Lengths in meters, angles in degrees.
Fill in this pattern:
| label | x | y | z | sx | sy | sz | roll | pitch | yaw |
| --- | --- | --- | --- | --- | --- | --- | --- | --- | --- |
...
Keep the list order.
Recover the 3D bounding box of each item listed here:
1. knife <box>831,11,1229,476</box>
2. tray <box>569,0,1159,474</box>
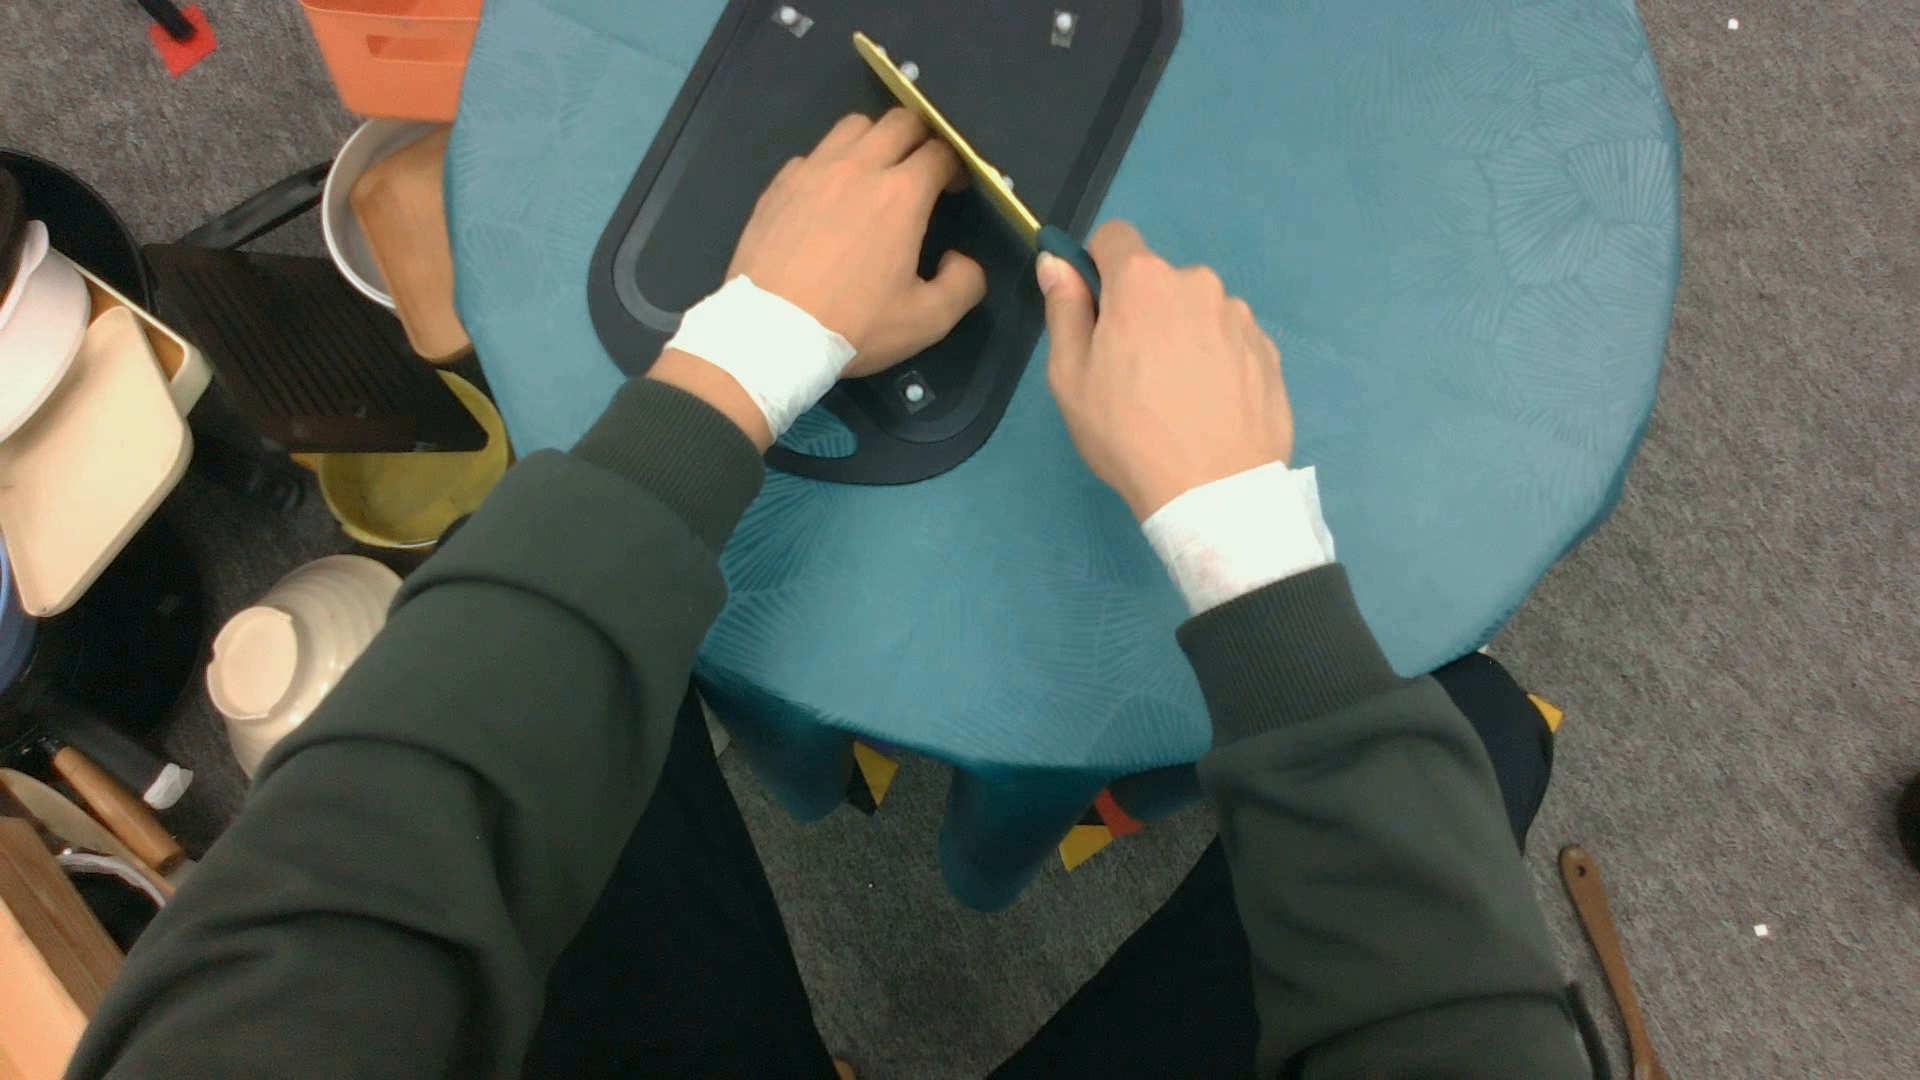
| label | x | y | z | sx | sy | sz | roll | pitch | yaw |
| --- | --- | --- | --- | --- | --- | --- | --- | --- | --- |
| knife | 0.024 | -0.139 | 0.617 | 0.027 | 0.081 | 0.290 | -39 | 74 | 7 |
| tray | -0.045 | -0.190 | 0.669 | 0.211 | 0.010 | 0.326 | 24 | 78 | 3 |
